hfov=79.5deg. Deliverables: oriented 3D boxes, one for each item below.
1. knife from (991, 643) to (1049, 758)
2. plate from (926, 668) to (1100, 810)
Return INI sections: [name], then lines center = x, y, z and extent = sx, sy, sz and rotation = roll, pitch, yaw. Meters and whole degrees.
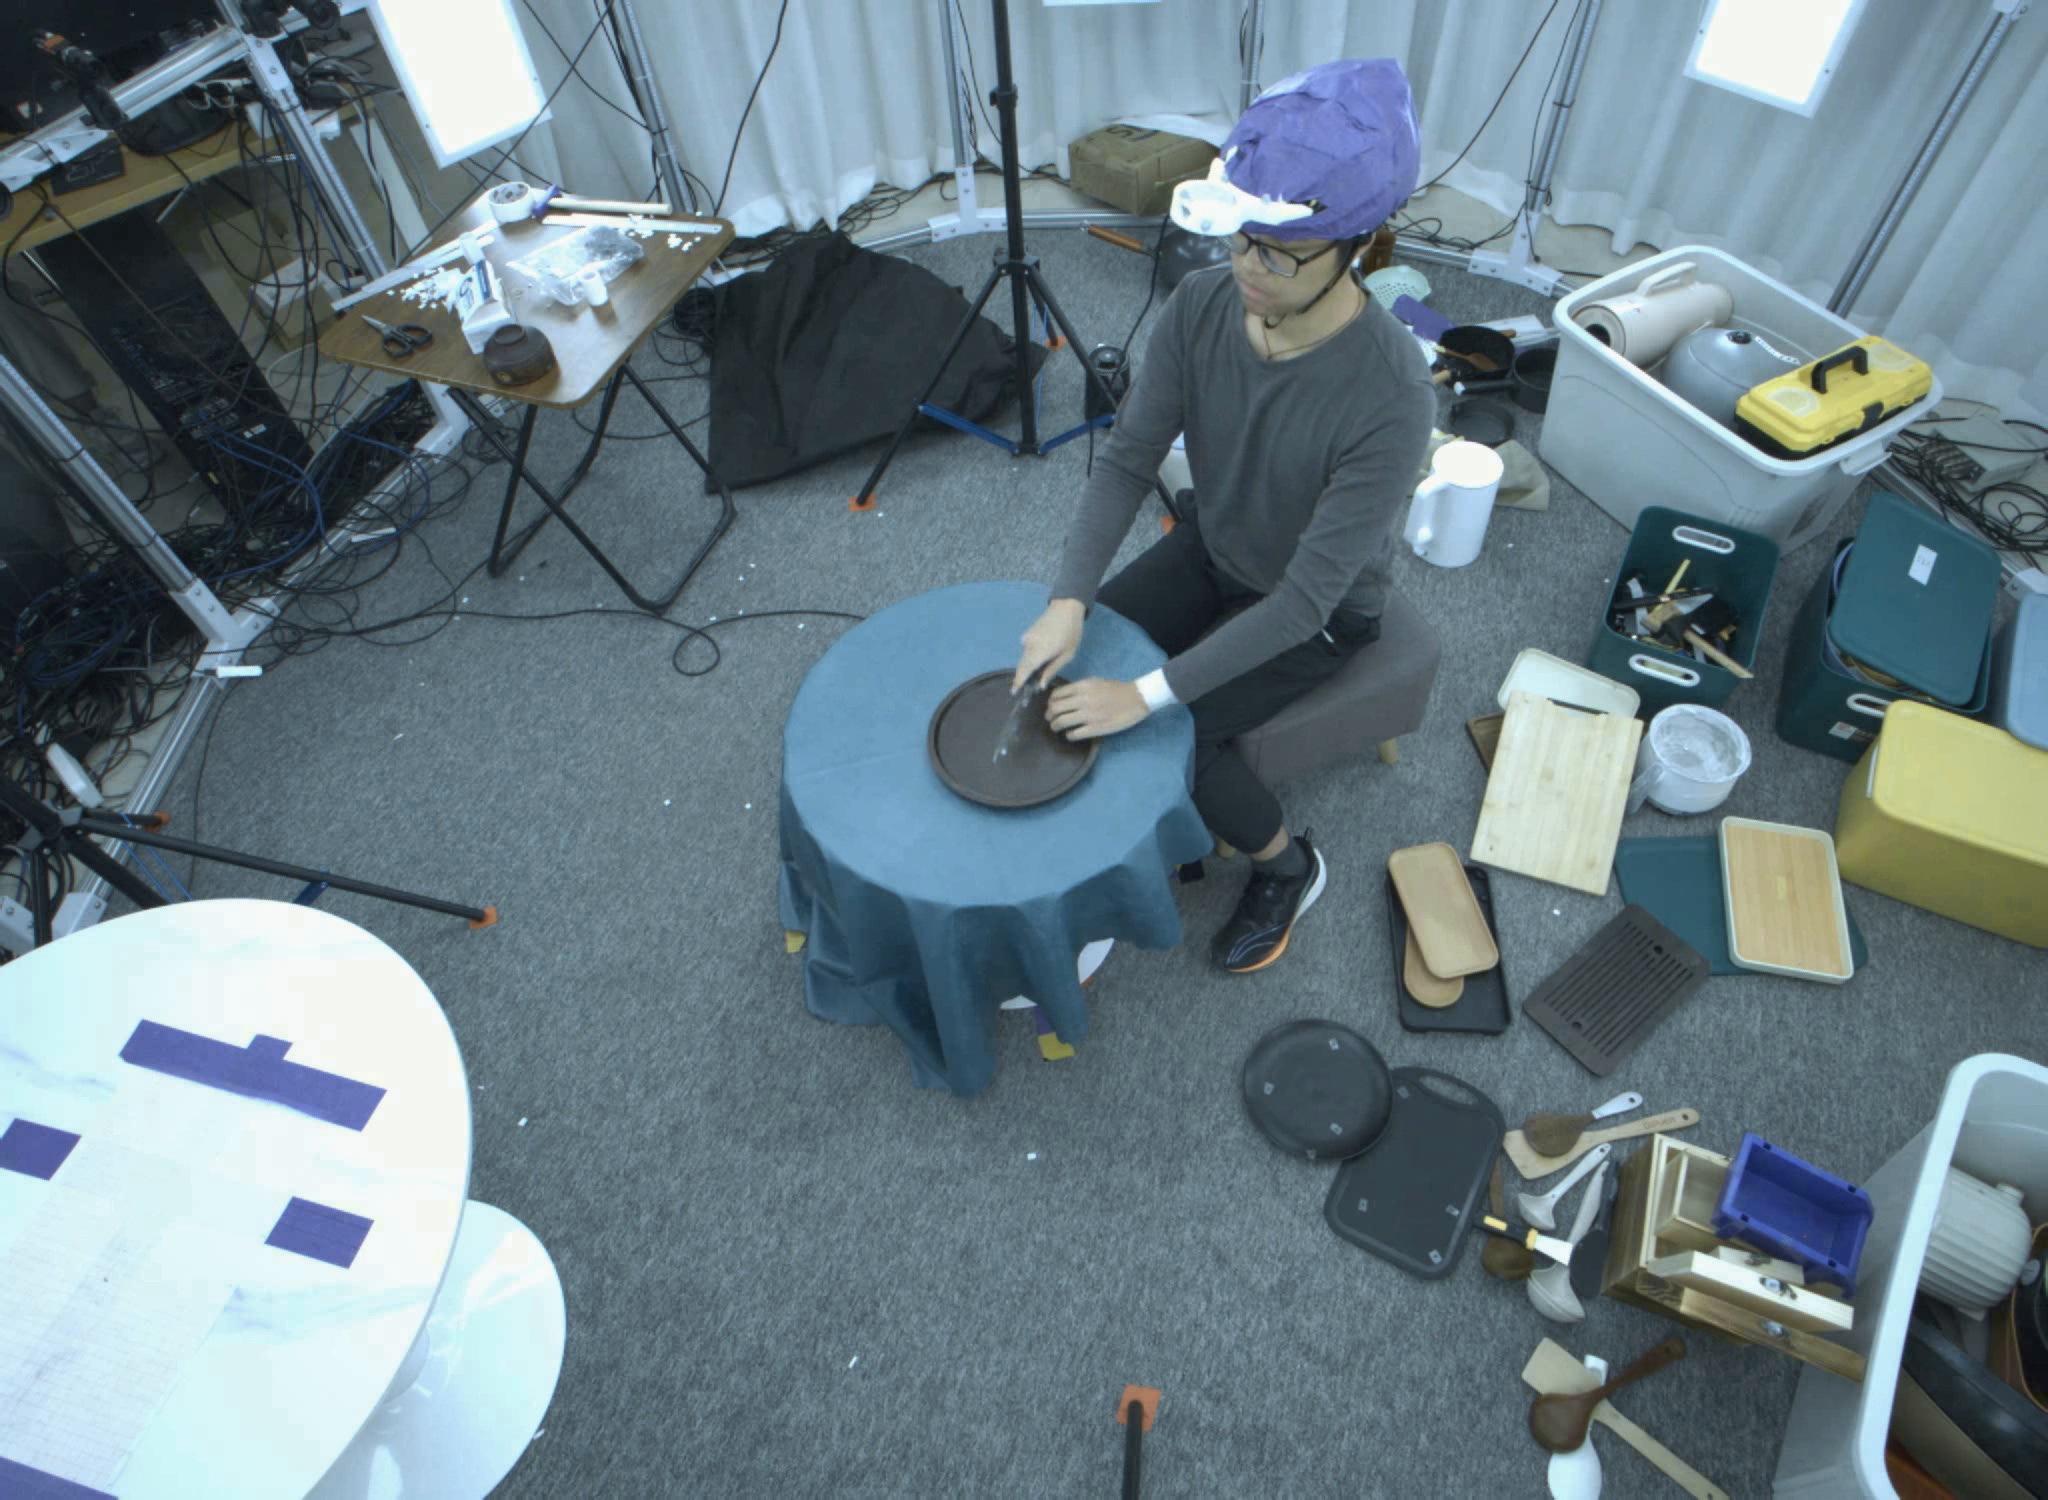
[knife]
center = -0.007, -0.074, 1.729
extent = 0.016, 0.025, 0.238
rotation = 12, 48, 14
[plate]
center = -0.016, -0.018, 1.794
extent = 0.254, 0.029, 0.252
rotation = 0, 56, 2
